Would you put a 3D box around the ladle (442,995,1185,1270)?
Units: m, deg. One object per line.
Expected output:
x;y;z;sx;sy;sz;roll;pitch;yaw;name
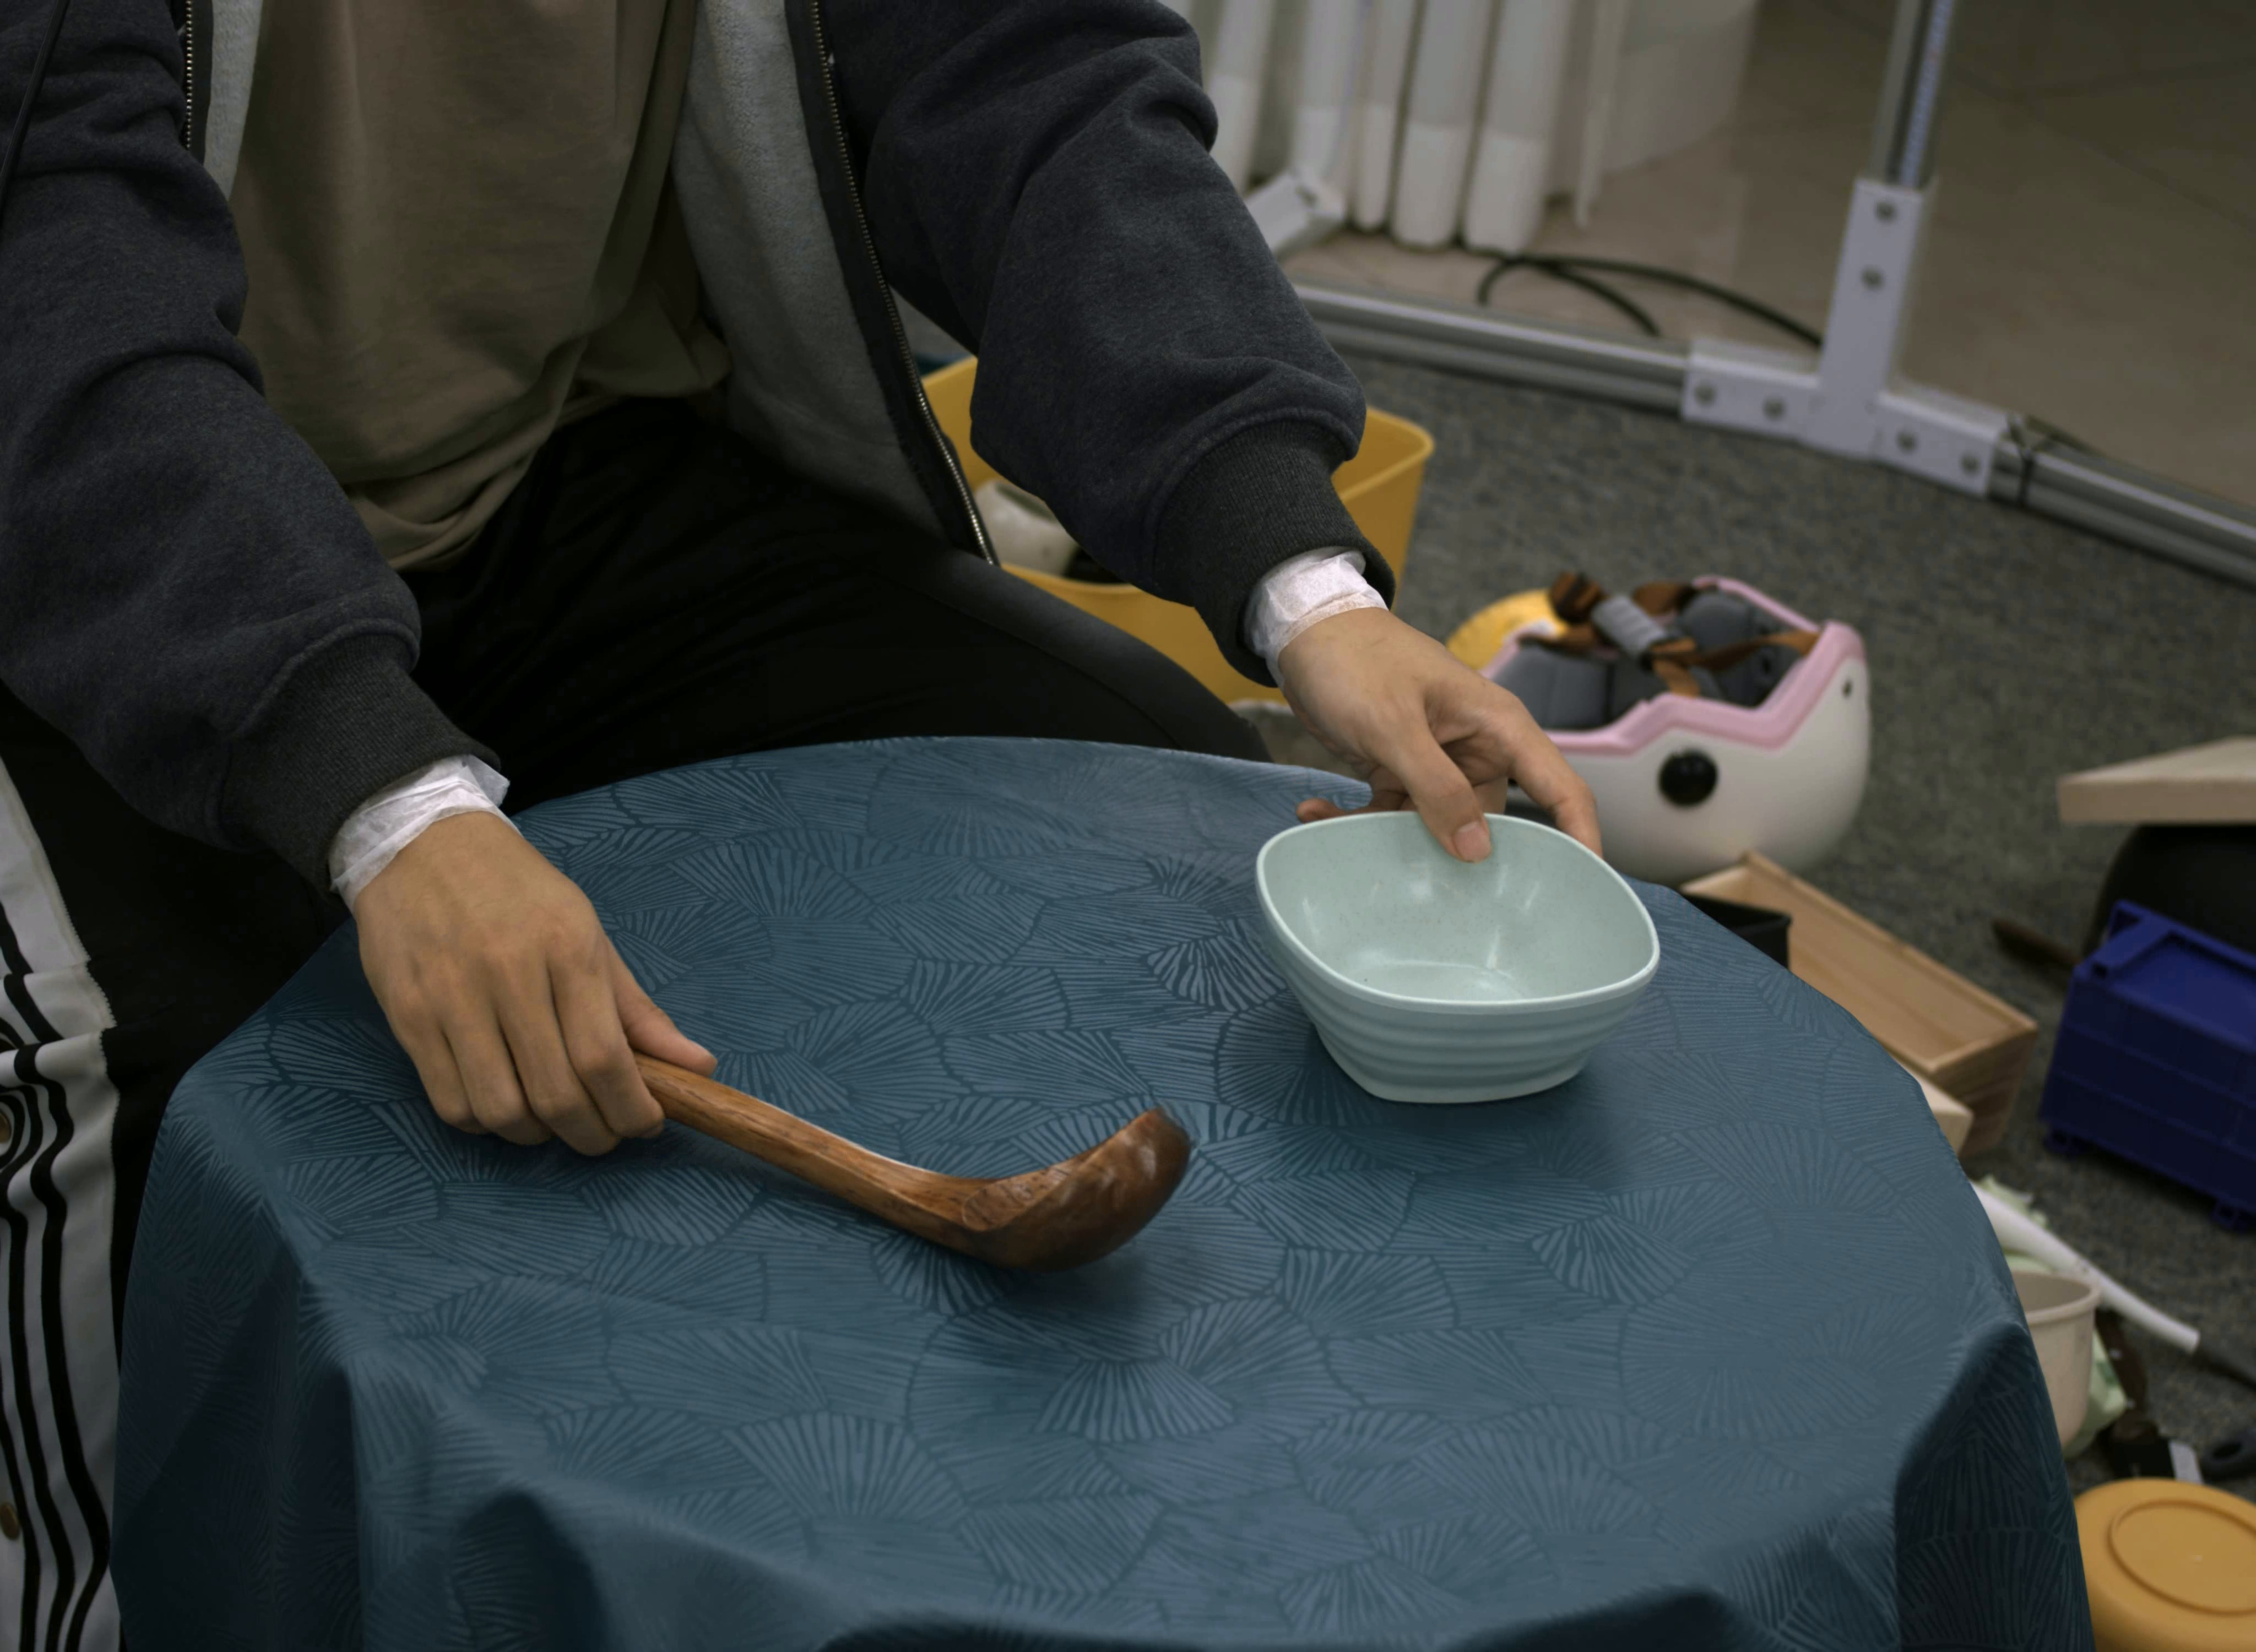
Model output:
-0.109;0.081;1.768;0.275;0.076;0.082;21;23;22;ladle

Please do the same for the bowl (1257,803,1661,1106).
0.114;0.052;1.901;0.151;0.058;0.152;5;31;-3;bowl
